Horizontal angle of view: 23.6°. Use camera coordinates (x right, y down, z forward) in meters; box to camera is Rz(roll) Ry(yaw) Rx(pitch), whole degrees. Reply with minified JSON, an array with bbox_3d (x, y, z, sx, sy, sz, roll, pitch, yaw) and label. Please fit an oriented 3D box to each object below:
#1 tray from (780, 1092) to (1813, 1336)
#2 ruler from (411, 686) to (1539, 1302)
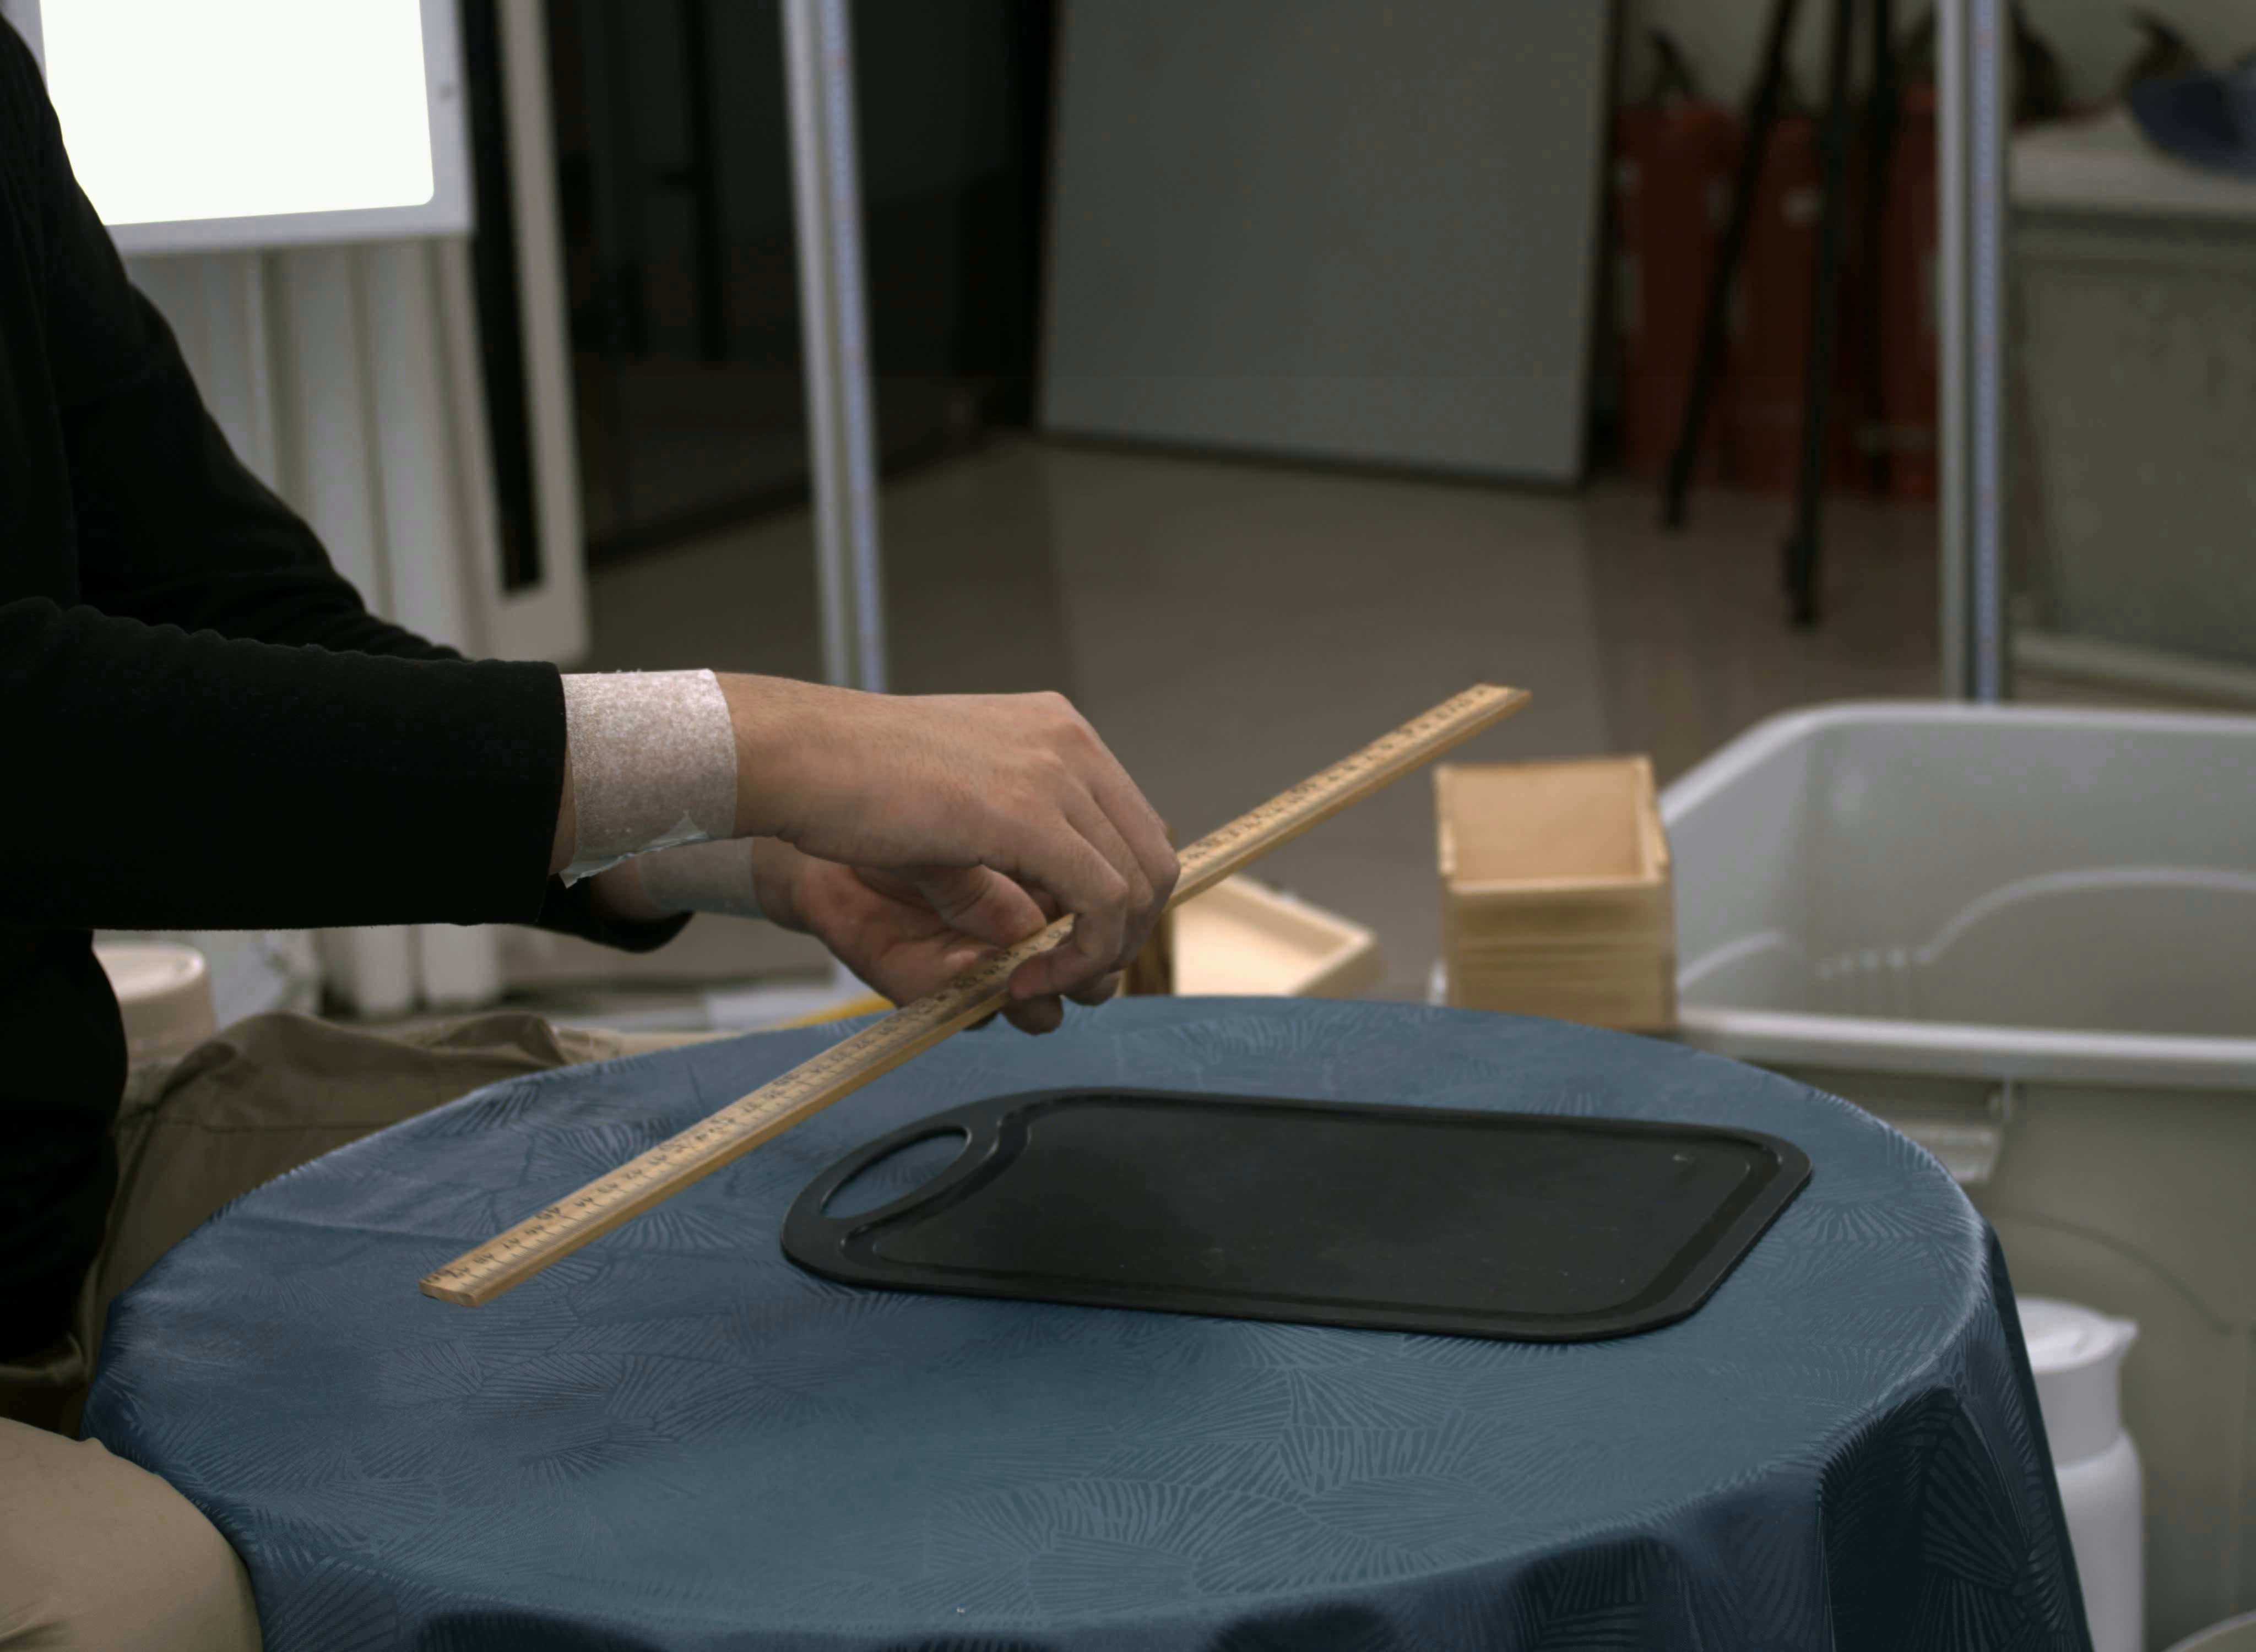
[{"bbox_3d":[0.048,0.121,1.741,0.326,0.010,0.208,2,15,24],"label":"tray"},{"bbox_3d":[-0.033,0.044,1.708,0.027,0.006,0.492,6,25,45],"label":"ruler"}]
